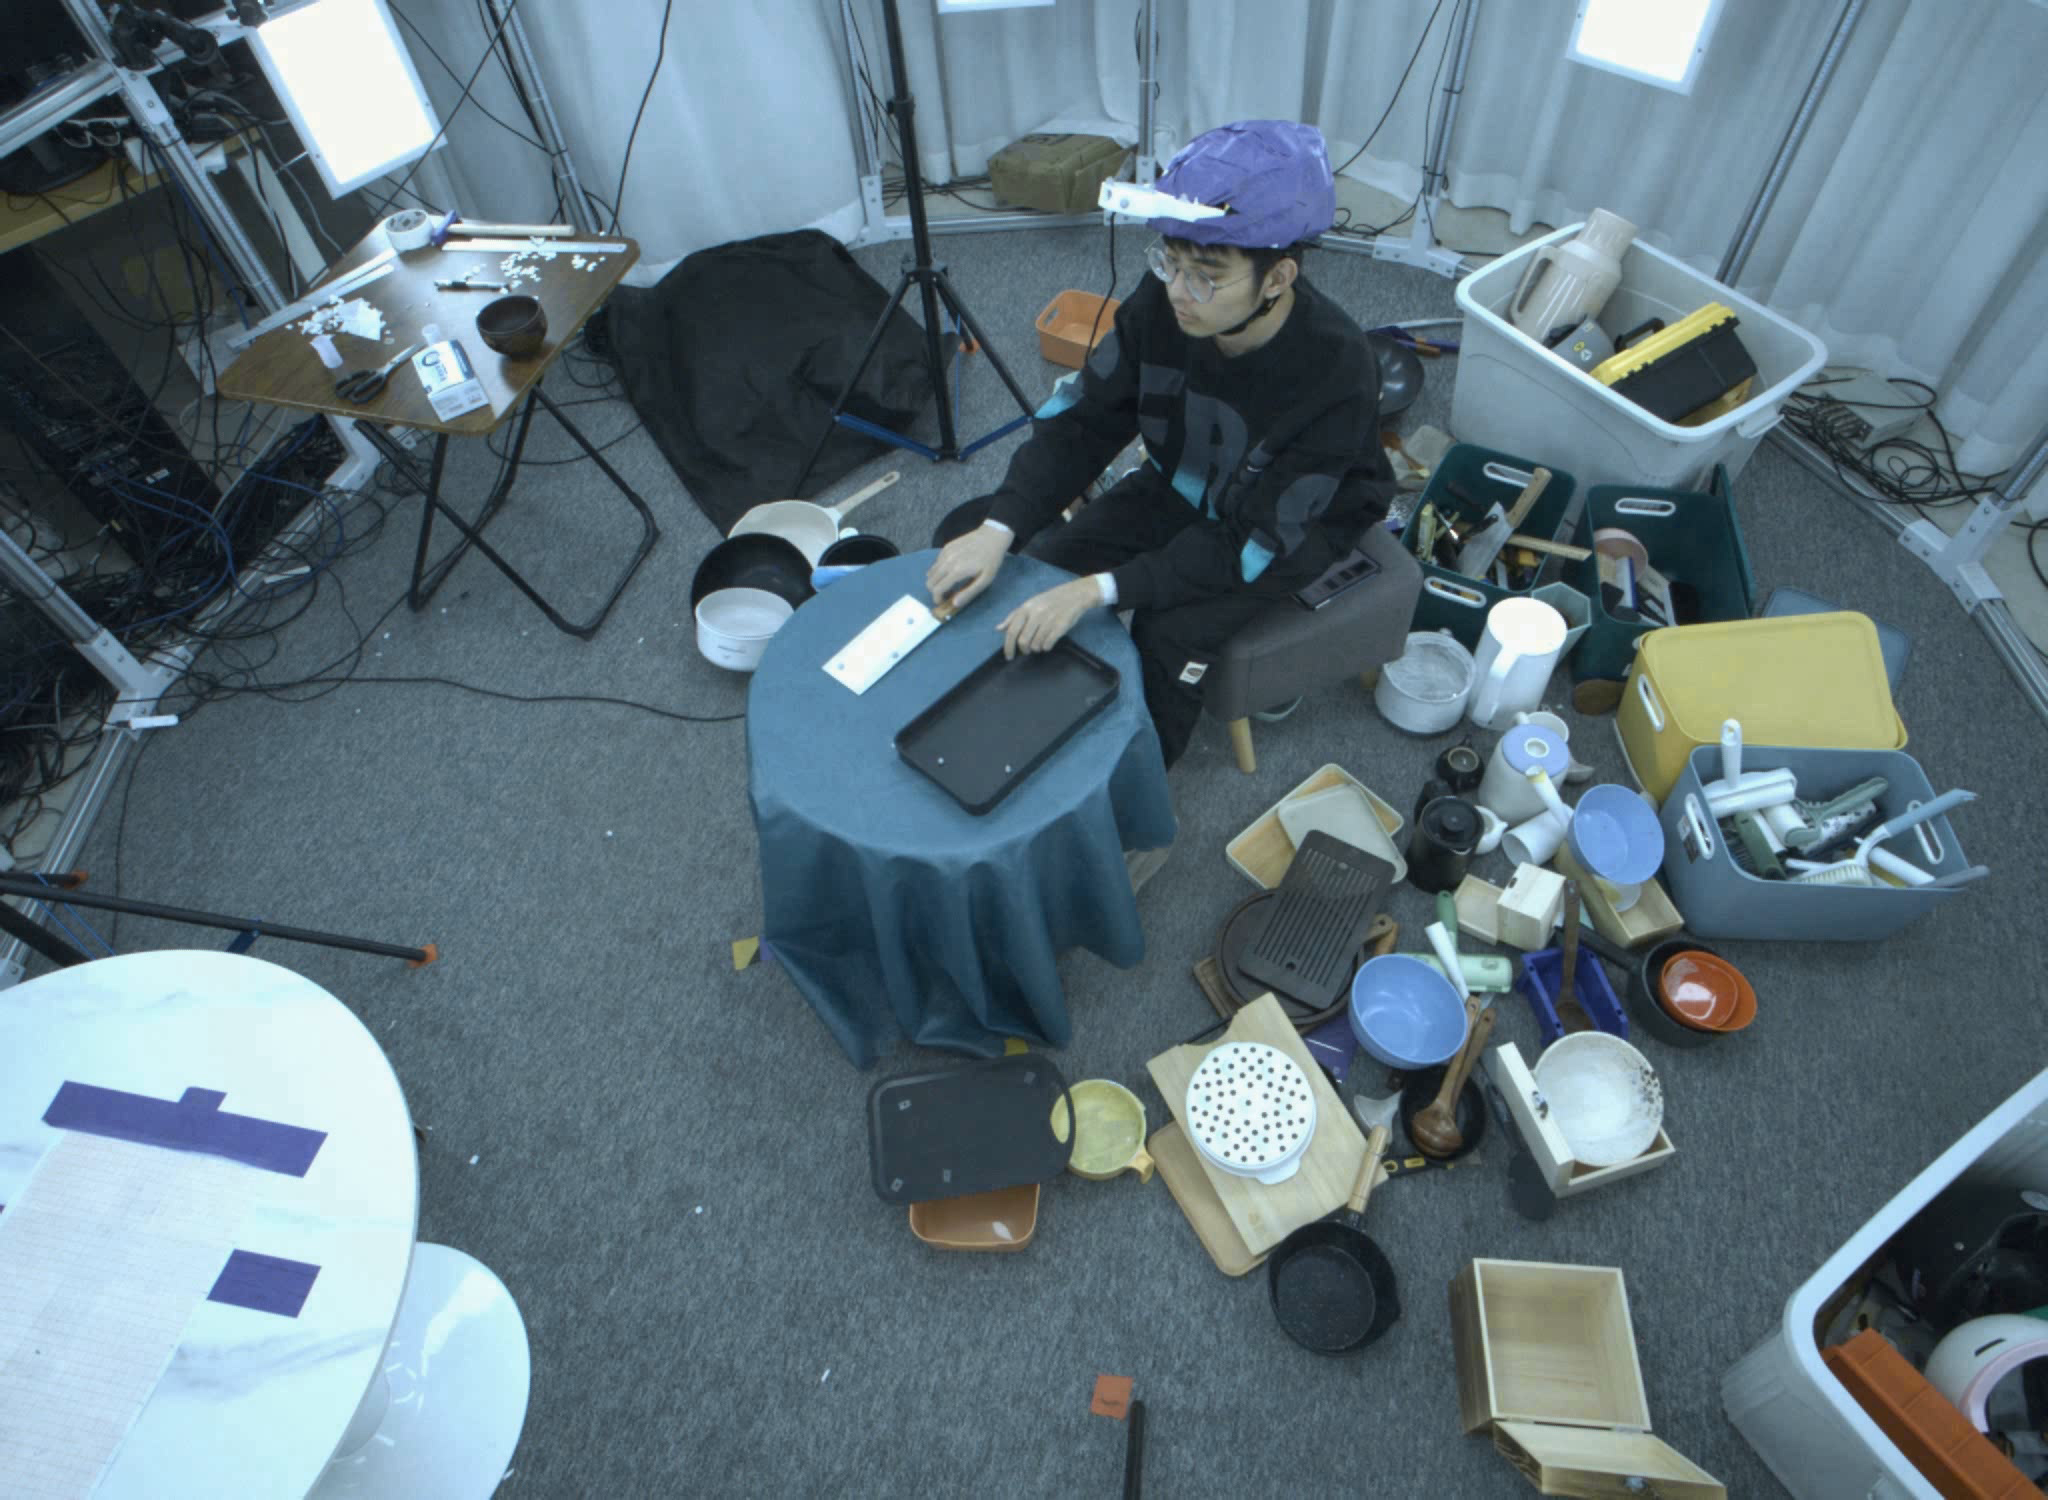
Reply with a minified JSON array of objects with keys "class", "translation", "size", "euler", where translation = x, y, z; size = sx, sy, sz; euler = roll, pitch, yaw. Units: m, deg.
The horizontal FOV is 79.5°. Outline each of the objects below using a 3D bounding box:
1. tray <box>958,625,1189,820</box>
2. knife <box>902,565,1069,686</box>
[{"class":"tray","translation":[0.074,-0.046,1.794],"size":[0.320,0.037,0.181],"euler":[-39,62,-23]},{"class":"knife","translation":[-0.063,-0.210,1.928],"size":[0.307,0.021,0.091],"euler":[-40,61,-20]}]
